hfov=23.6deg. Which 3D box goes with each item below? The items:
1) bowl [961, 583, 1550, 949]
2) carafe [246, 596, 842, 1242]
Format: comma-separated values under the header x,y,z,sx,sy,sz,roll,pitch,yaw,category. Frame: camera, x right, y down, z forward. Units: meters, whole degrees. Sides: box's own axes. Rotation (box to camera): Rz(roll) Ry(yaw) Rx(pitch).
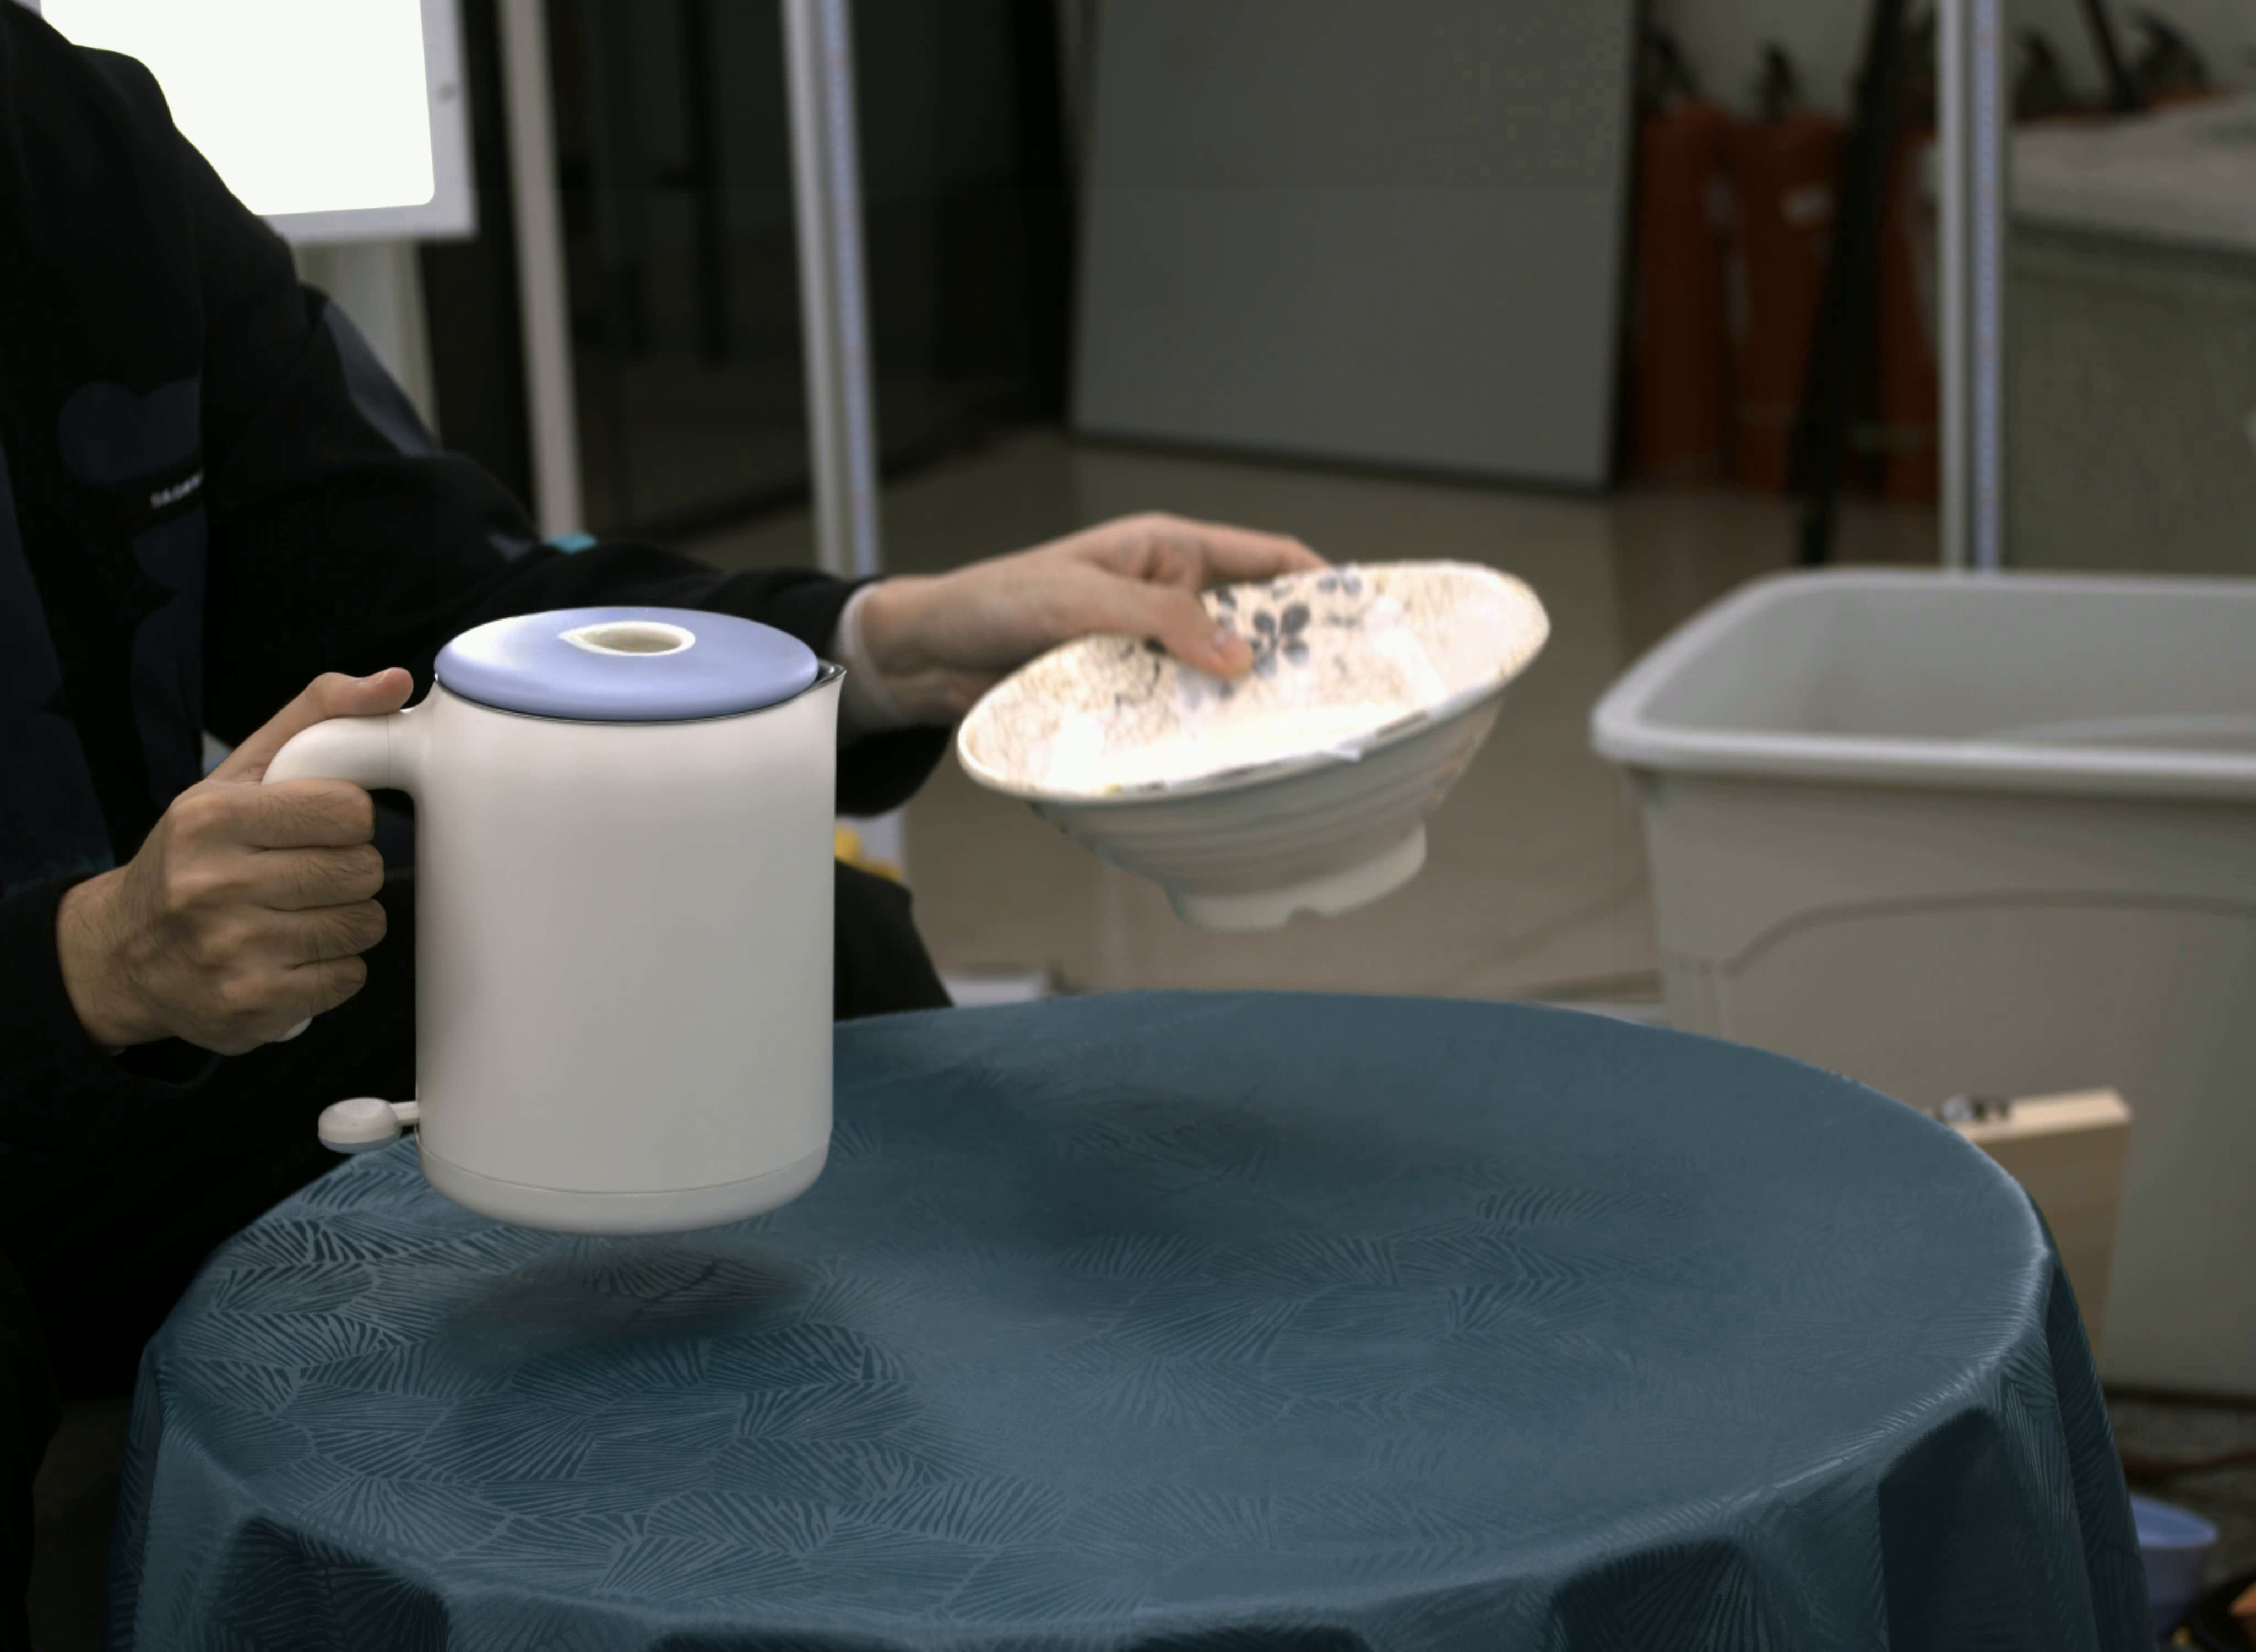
x,y,z,sx,sy,sz,roll,pitch,yaw,category
0.051,-0.011,1.790,0.202,0.078,0.204,-16,14,3,bowl
-0.178,0.030,1.670,0.187,0.184,0.133,-5,15,-11,carafe
